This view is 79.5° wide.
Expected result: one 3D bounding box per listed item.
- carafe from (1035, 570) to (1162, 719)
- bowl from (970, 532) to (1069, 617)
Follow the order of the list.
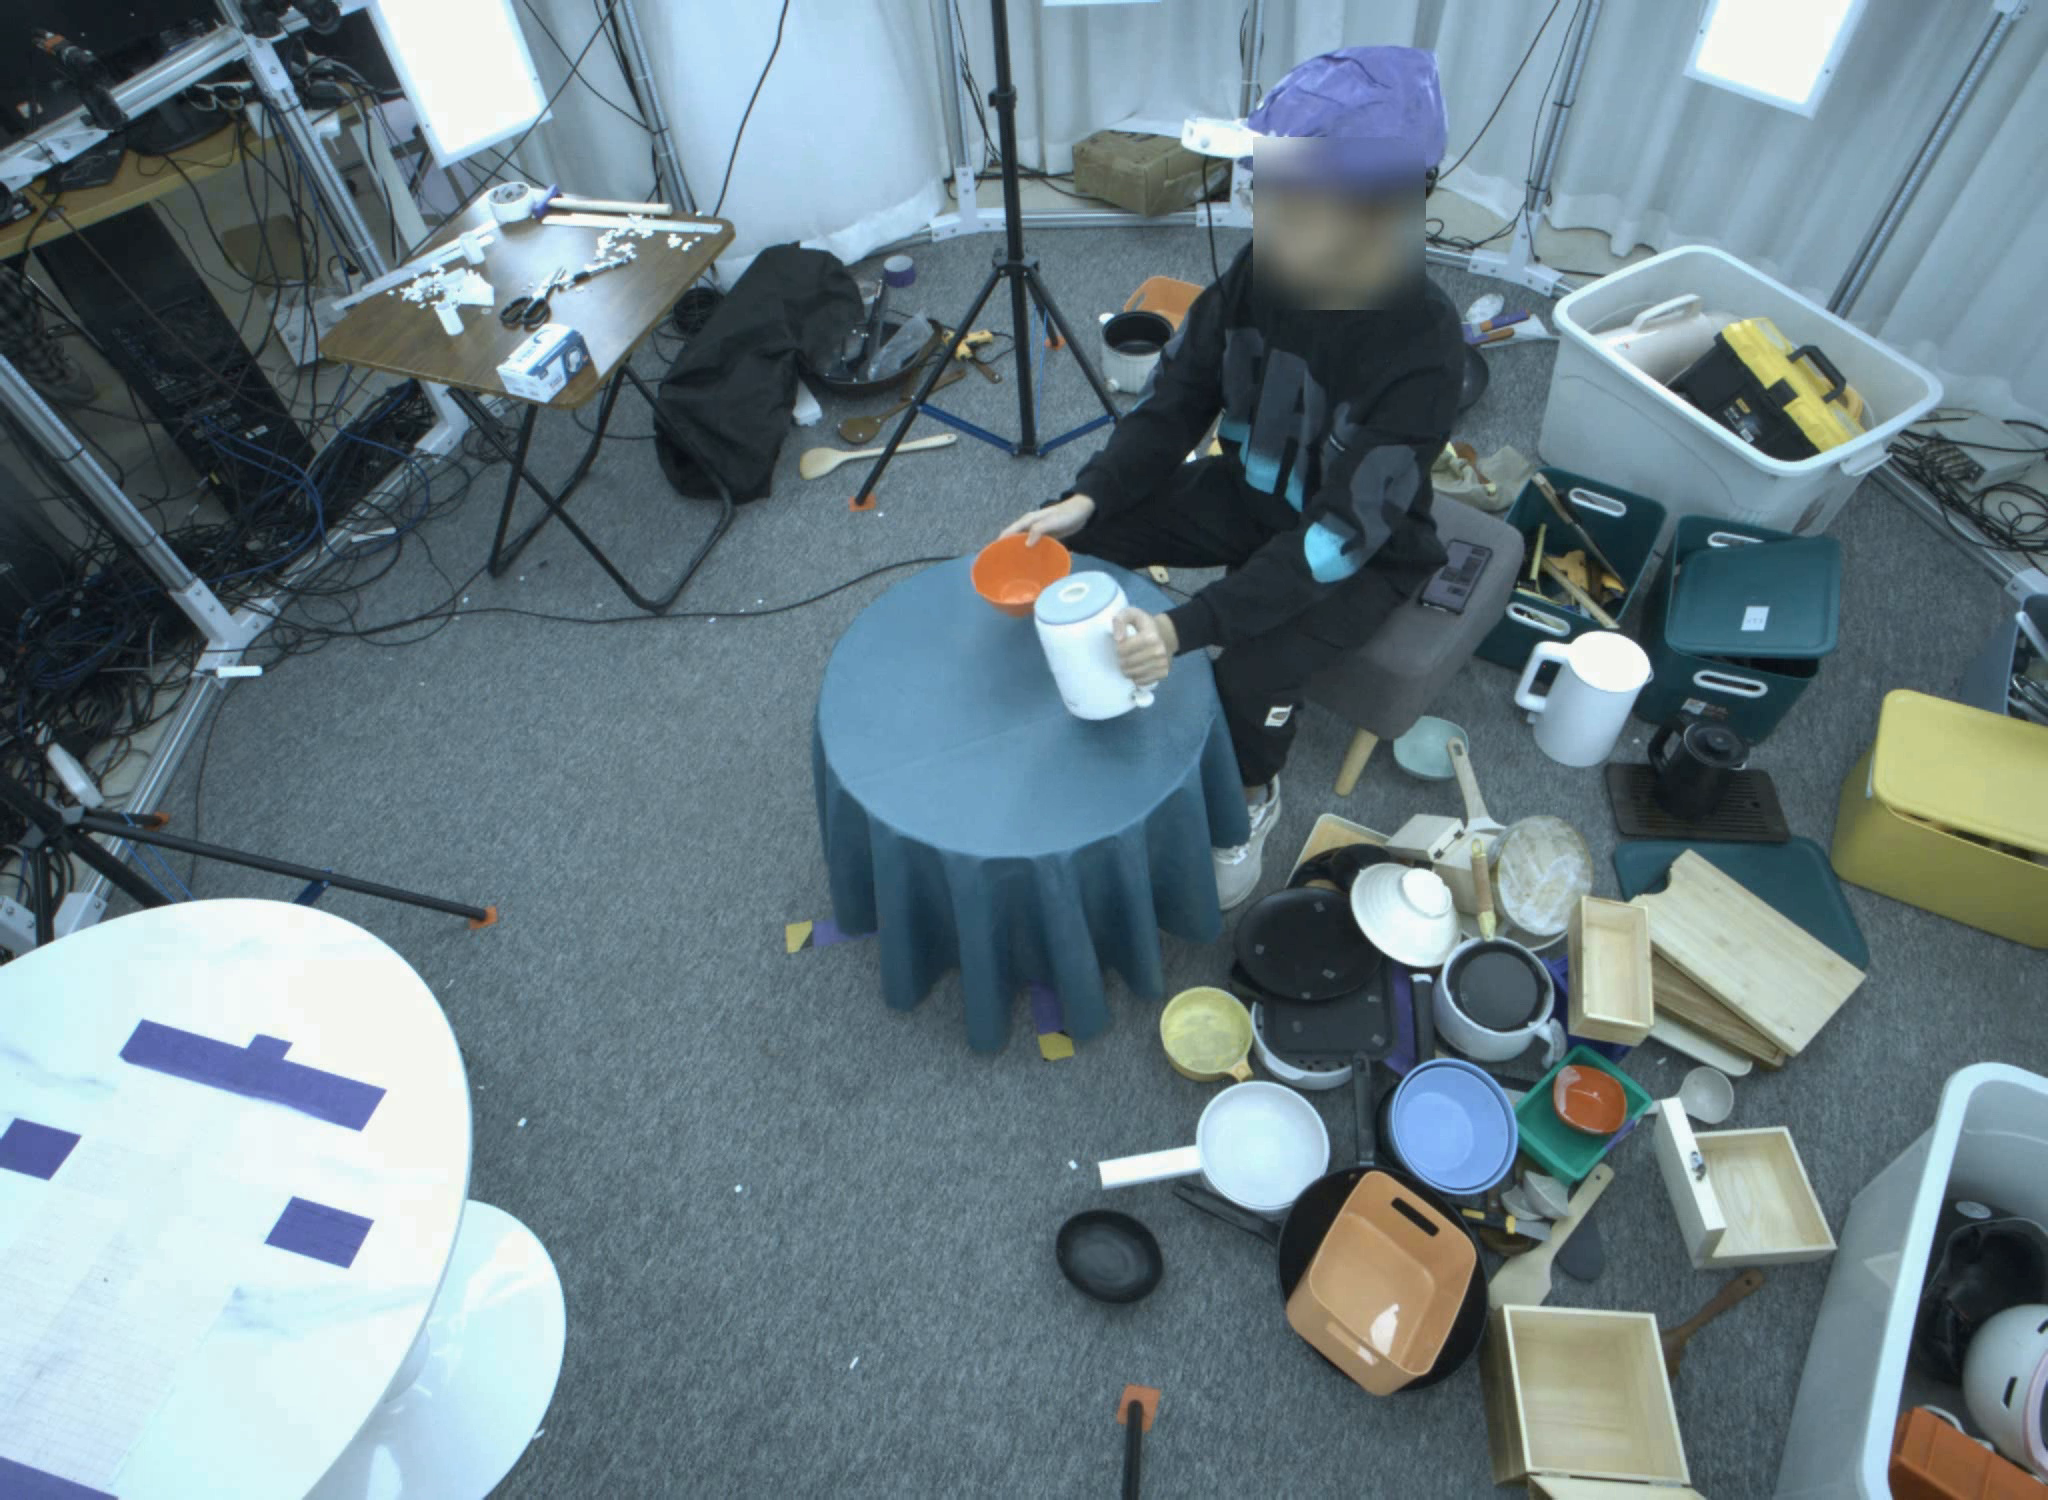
[{"bbox_3d":[0.112,-0.137,1.693,0.133,0.186,0.186,-42,44,-21],"label":"carafe"},{"bbox_3d":[-0.005,-0.247,1.832,0.148,0.106,0.146,-1,62,3],"label":"bowl"}]
